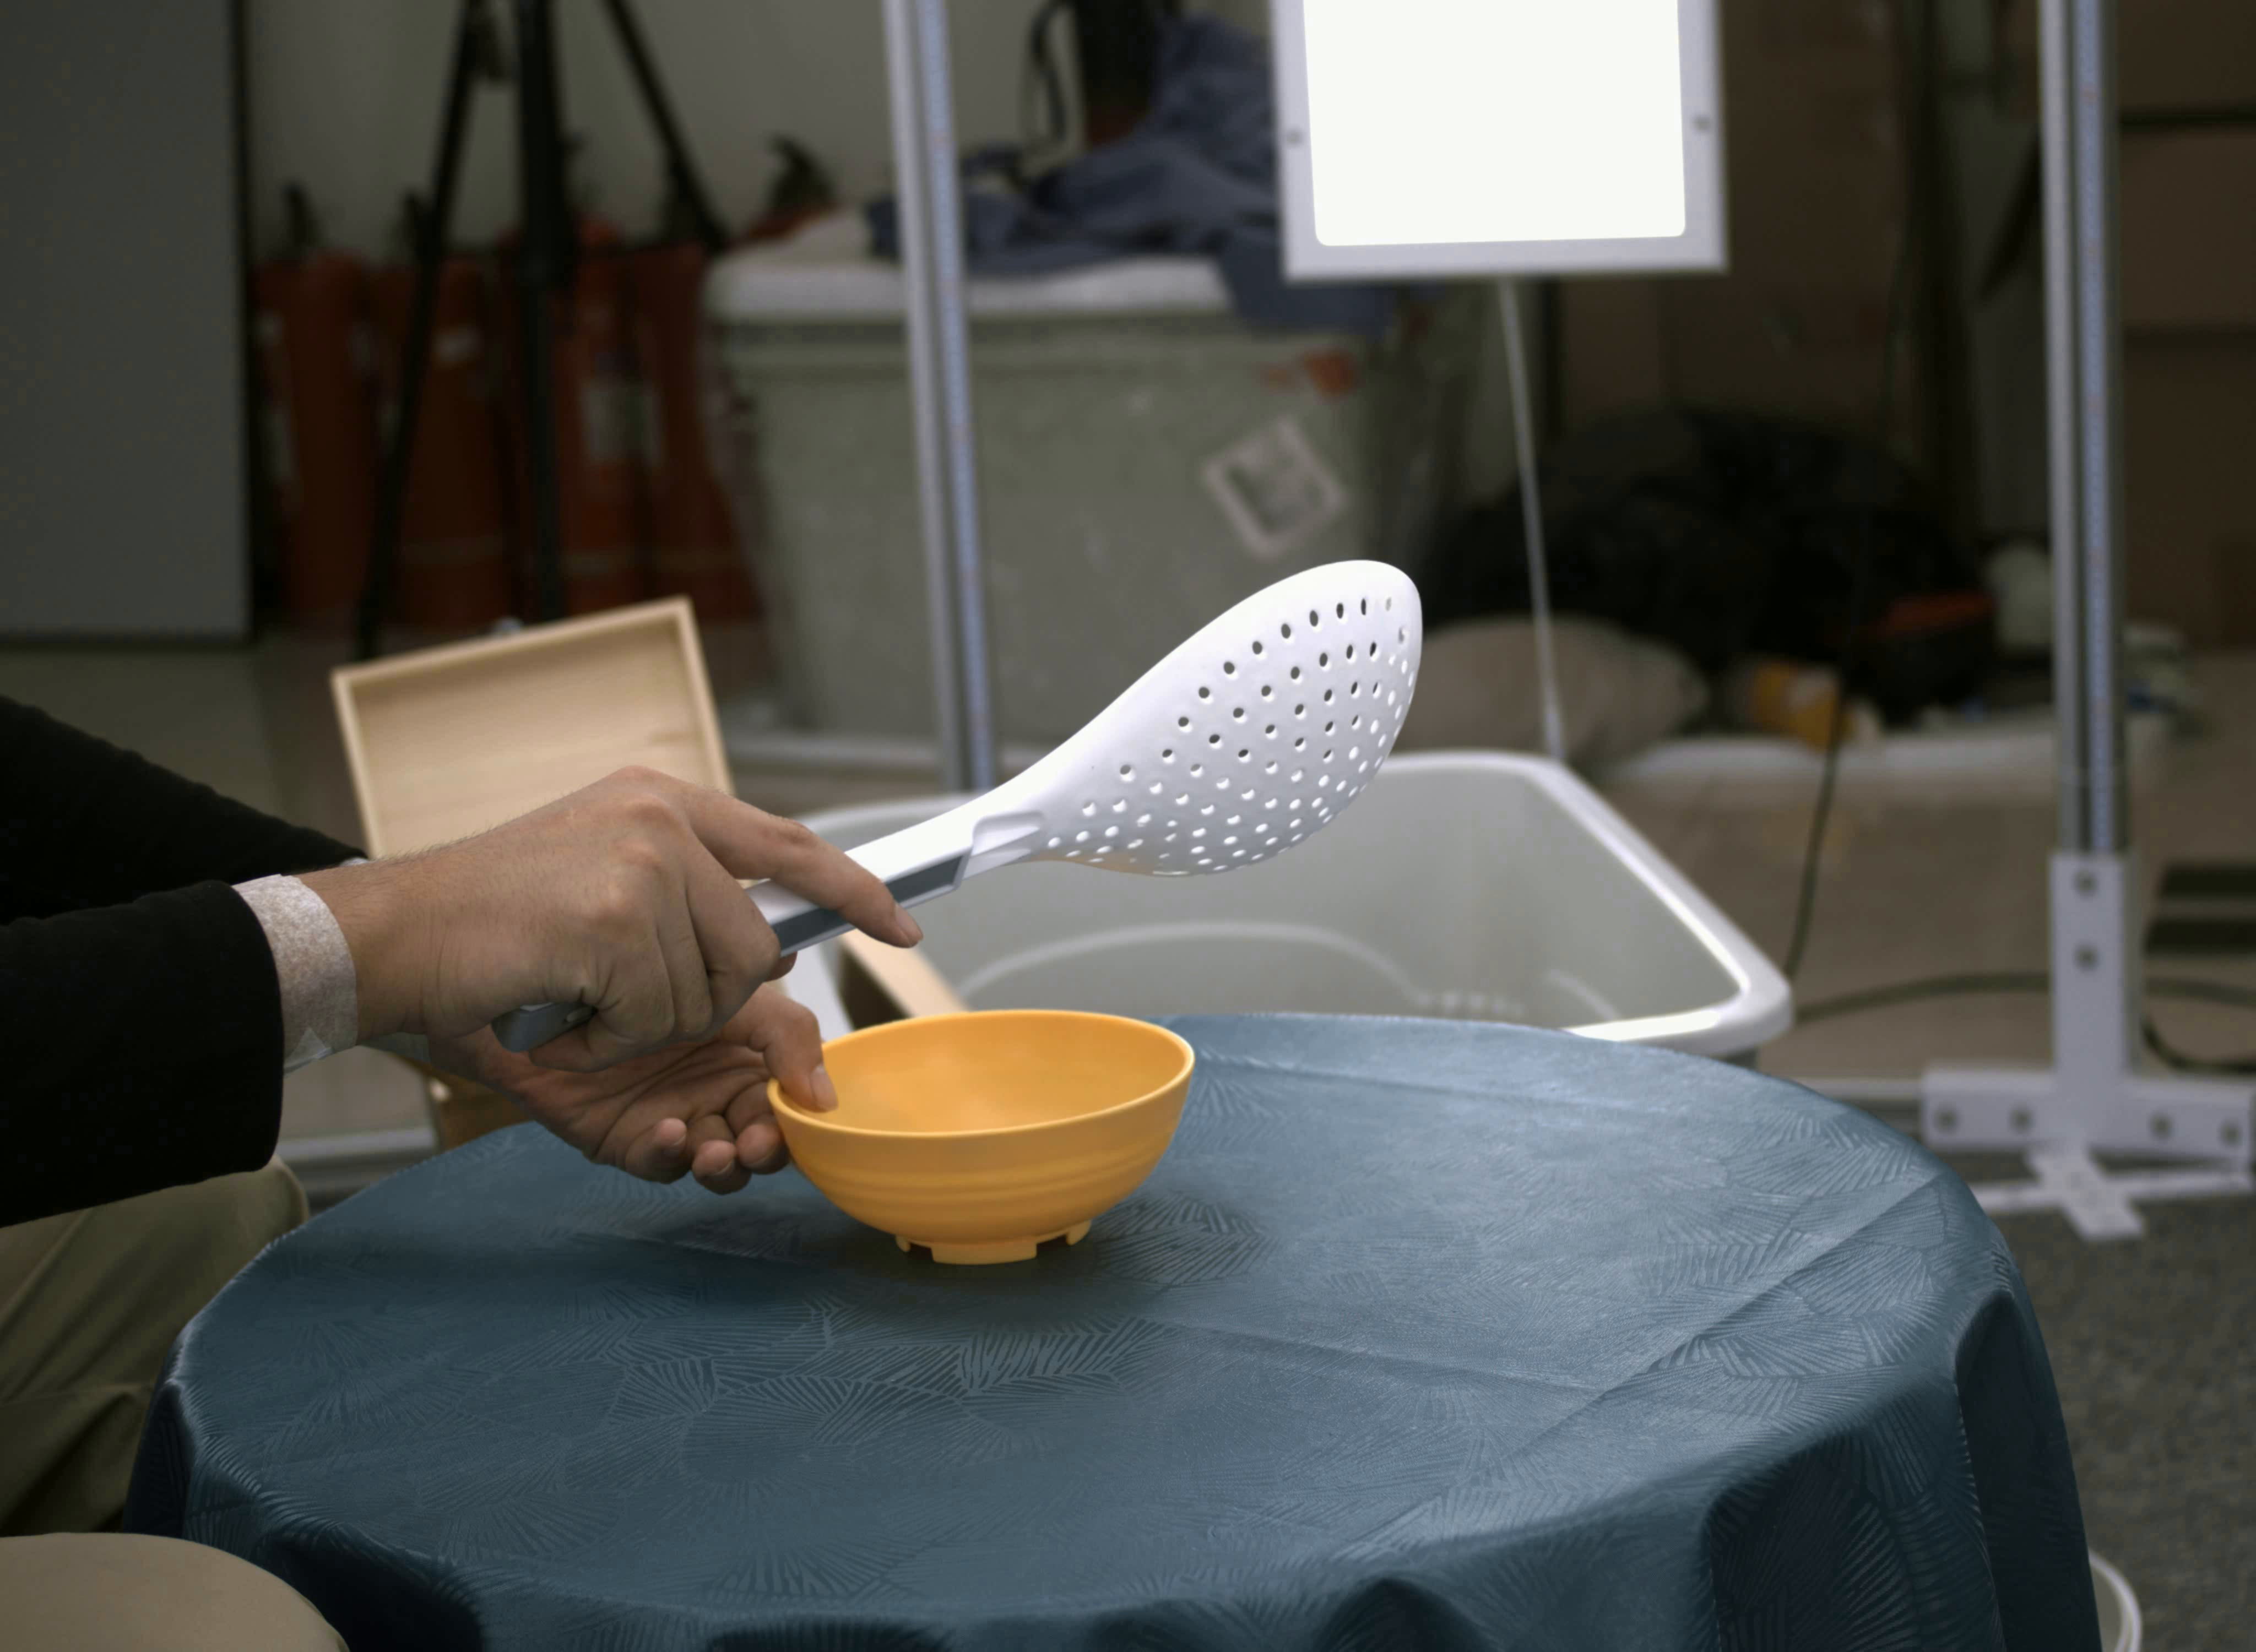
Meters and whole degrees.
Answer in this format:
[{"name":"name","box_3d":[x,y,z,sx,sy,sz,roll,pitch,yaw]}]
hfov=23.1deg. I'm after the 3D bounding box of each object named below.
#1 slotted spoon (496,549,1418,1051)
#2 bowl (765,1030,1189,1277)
[{"name":"slotted spoon","box_3d":[-0.044,0.001,1.704,0.342,0.138,0.046,-17,56,-27]},{"name":"bowl","box_3d":[-0.048,0.115,1.860,0.145,0.060,0.145,-7,12,0]}]
